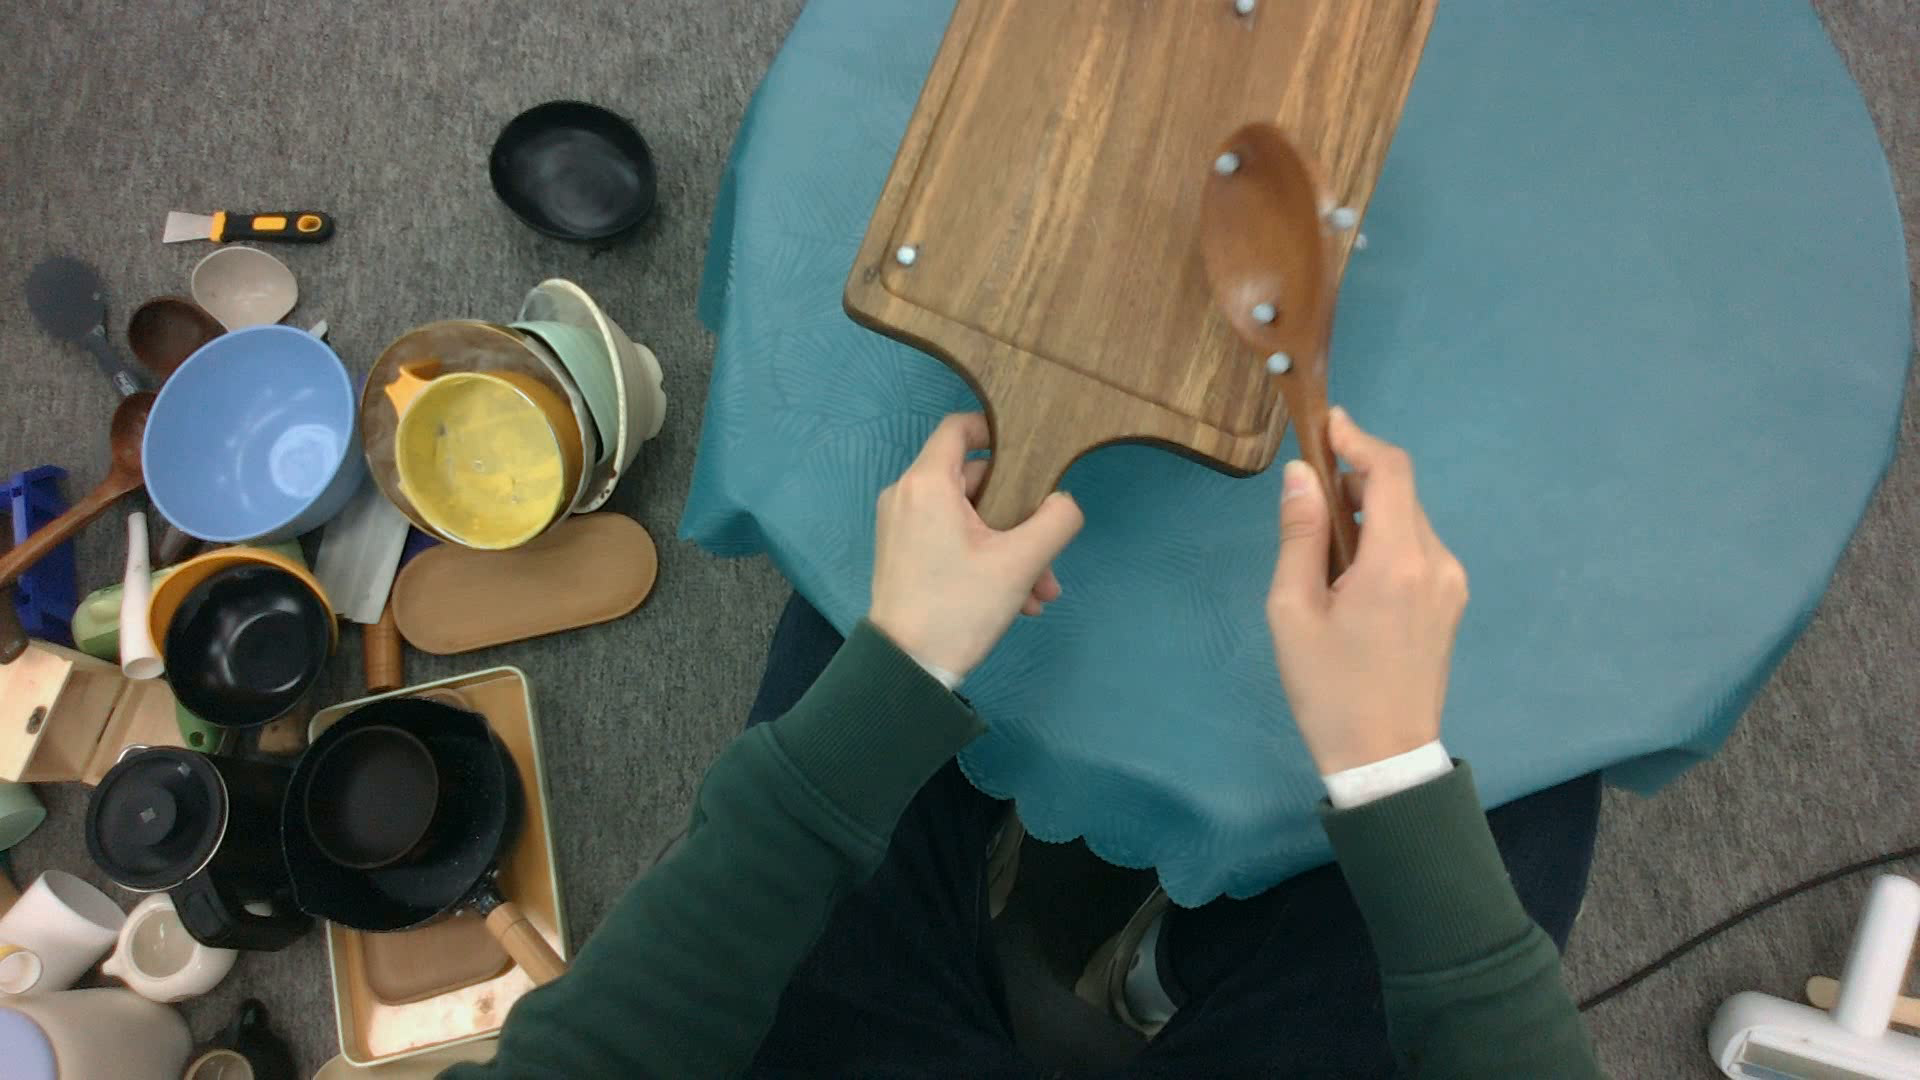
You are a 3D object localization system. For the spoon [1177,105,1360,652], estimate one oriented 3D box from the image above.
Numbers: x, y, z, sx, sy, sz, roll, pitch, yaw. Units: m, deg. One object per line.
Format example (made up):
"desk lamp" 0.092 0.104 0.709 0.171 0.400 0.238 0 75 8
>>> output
"spoon" 0.126 -0.063 0.536 0.017 0.075 0.216 -6 84 -32

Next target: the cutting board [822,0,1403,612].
"cutting board" 0.056 -0.136 0.592 0.201 0.023 0.352 21 82 -8
